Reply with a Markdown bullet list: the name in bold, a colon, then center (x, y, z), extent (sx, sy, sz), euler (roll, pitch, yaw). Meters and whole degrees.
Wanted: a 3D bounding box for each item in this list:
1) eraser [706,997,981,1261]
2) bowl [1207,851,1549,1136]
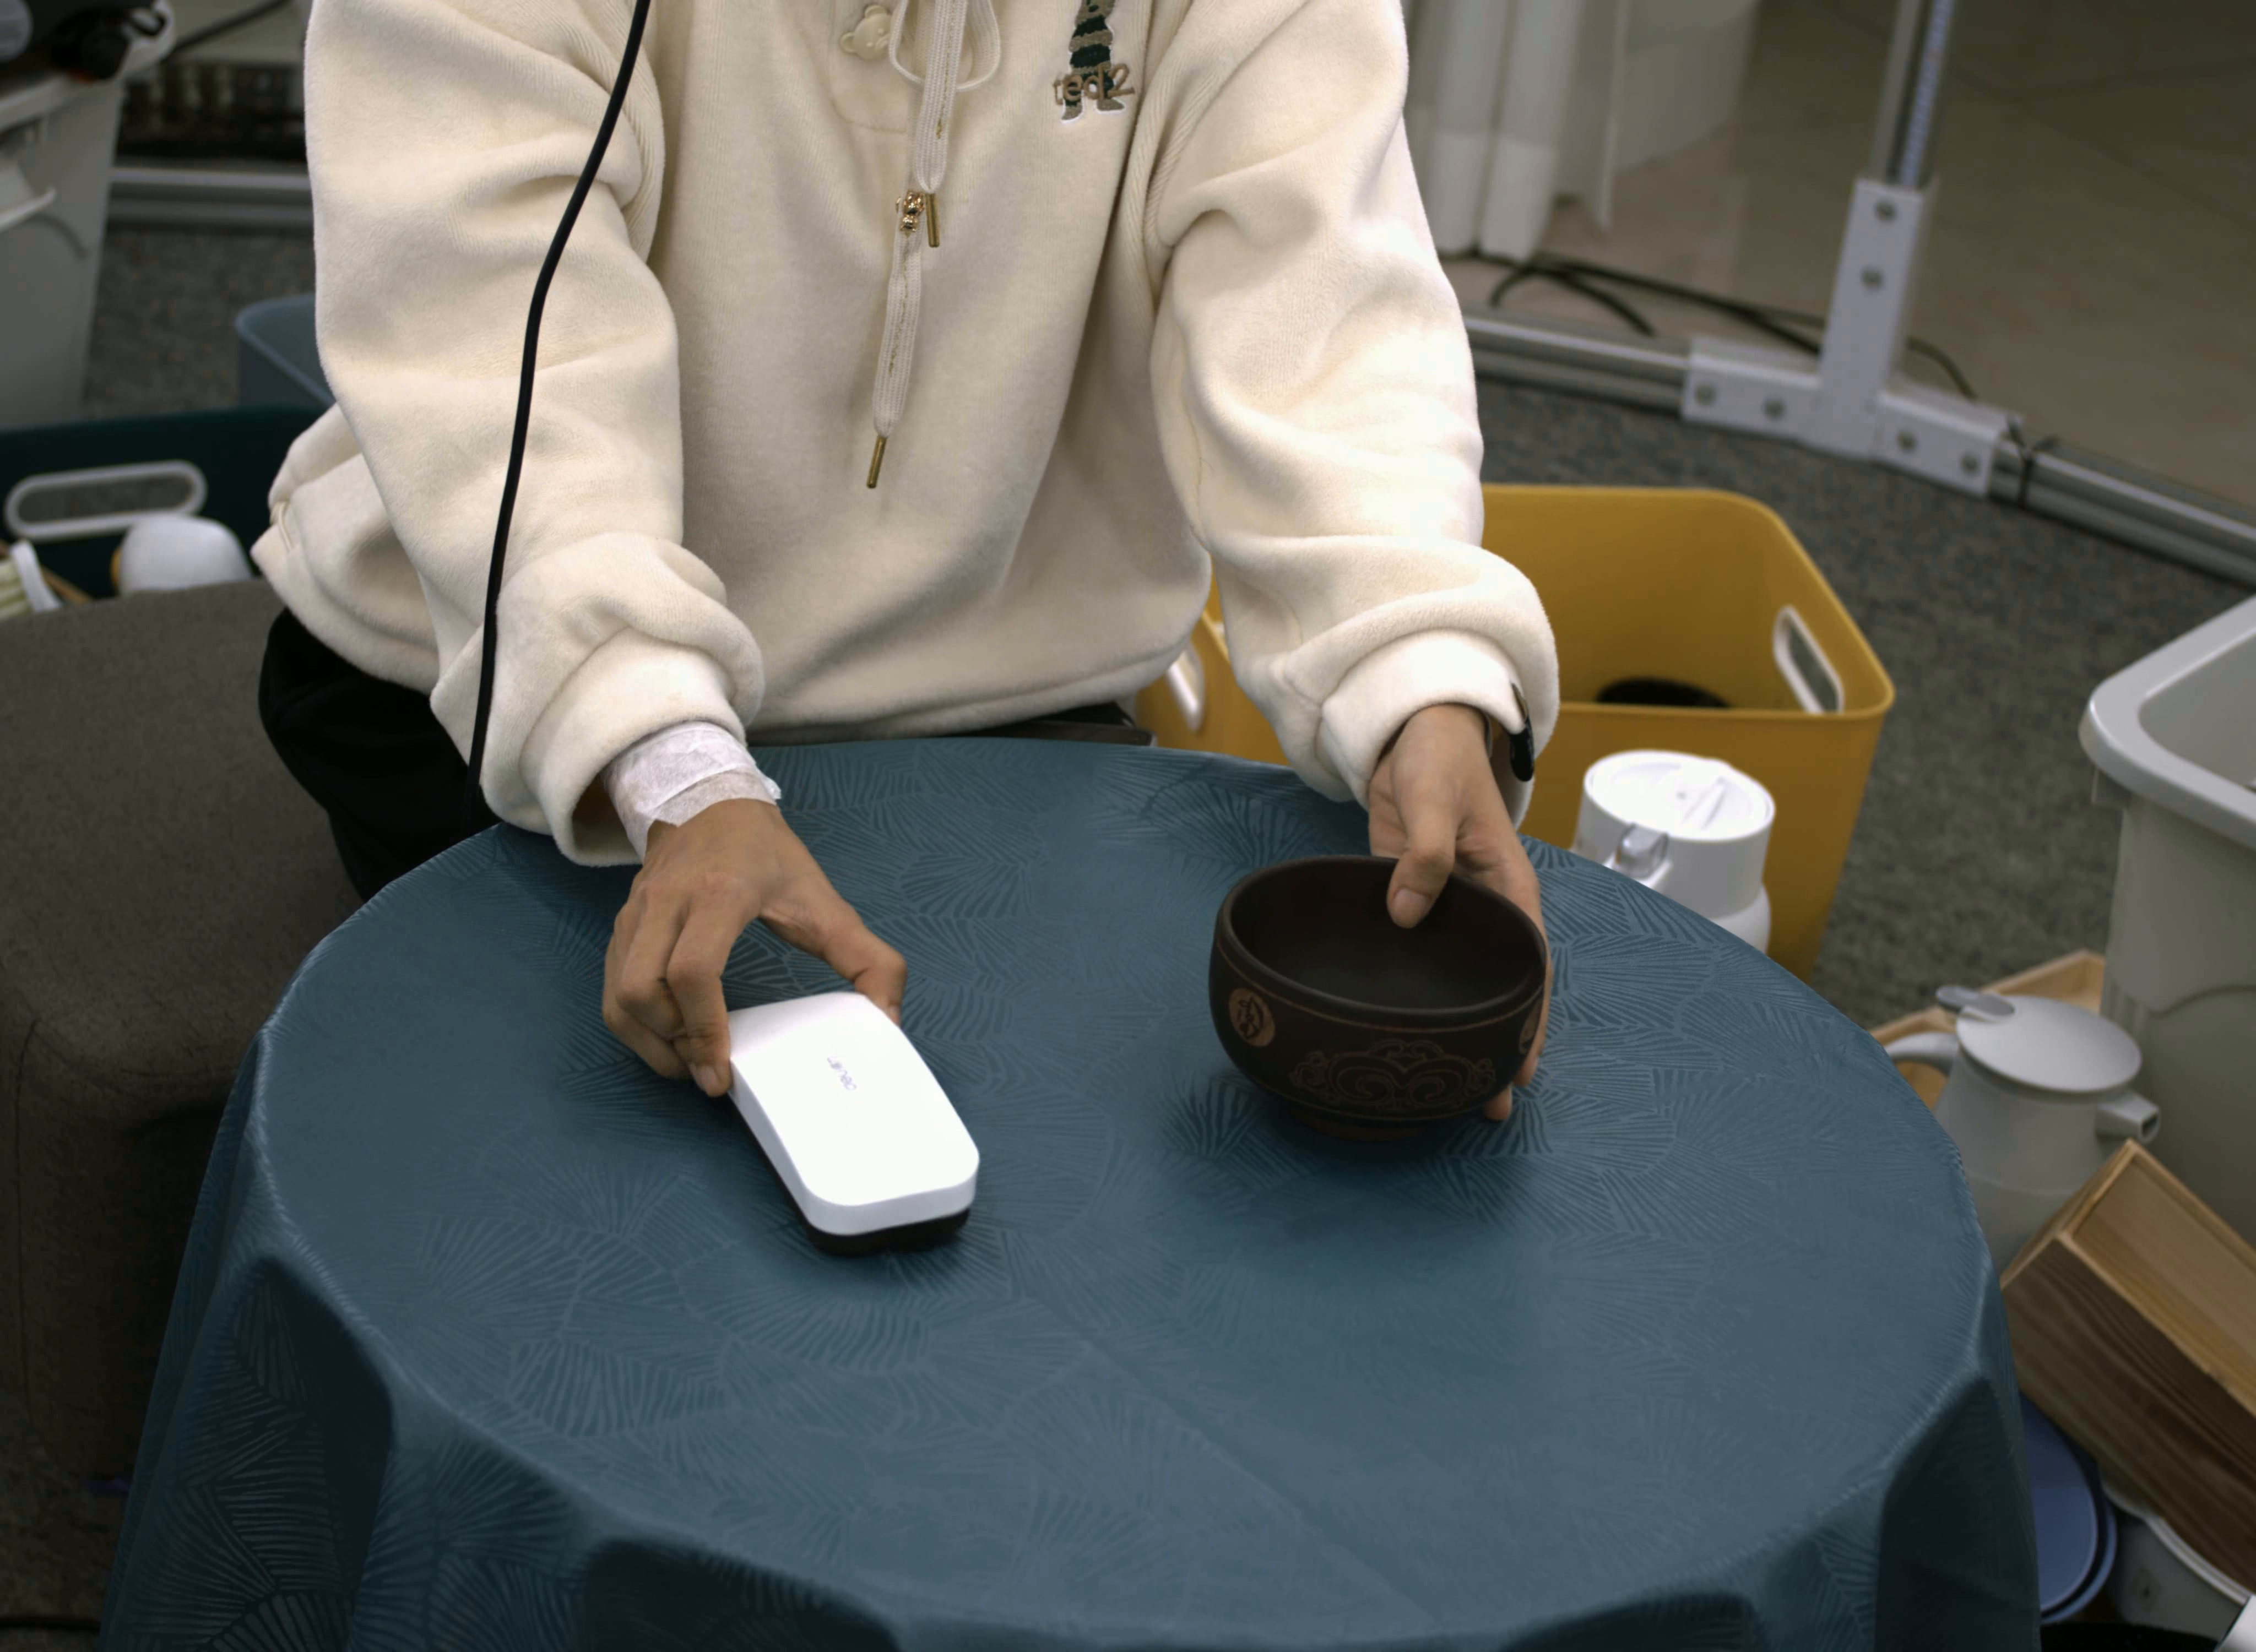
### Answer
- **eraser**: center (-0.096, 0.098, 1.793), extent (0.063, 0.034, 0.132), euler (-9, 31, -20)
- **bowl**: center (0.085, 0.065, 1.857), extent (0.117, 0.069, 0.119), euler (7, 25, -3)
